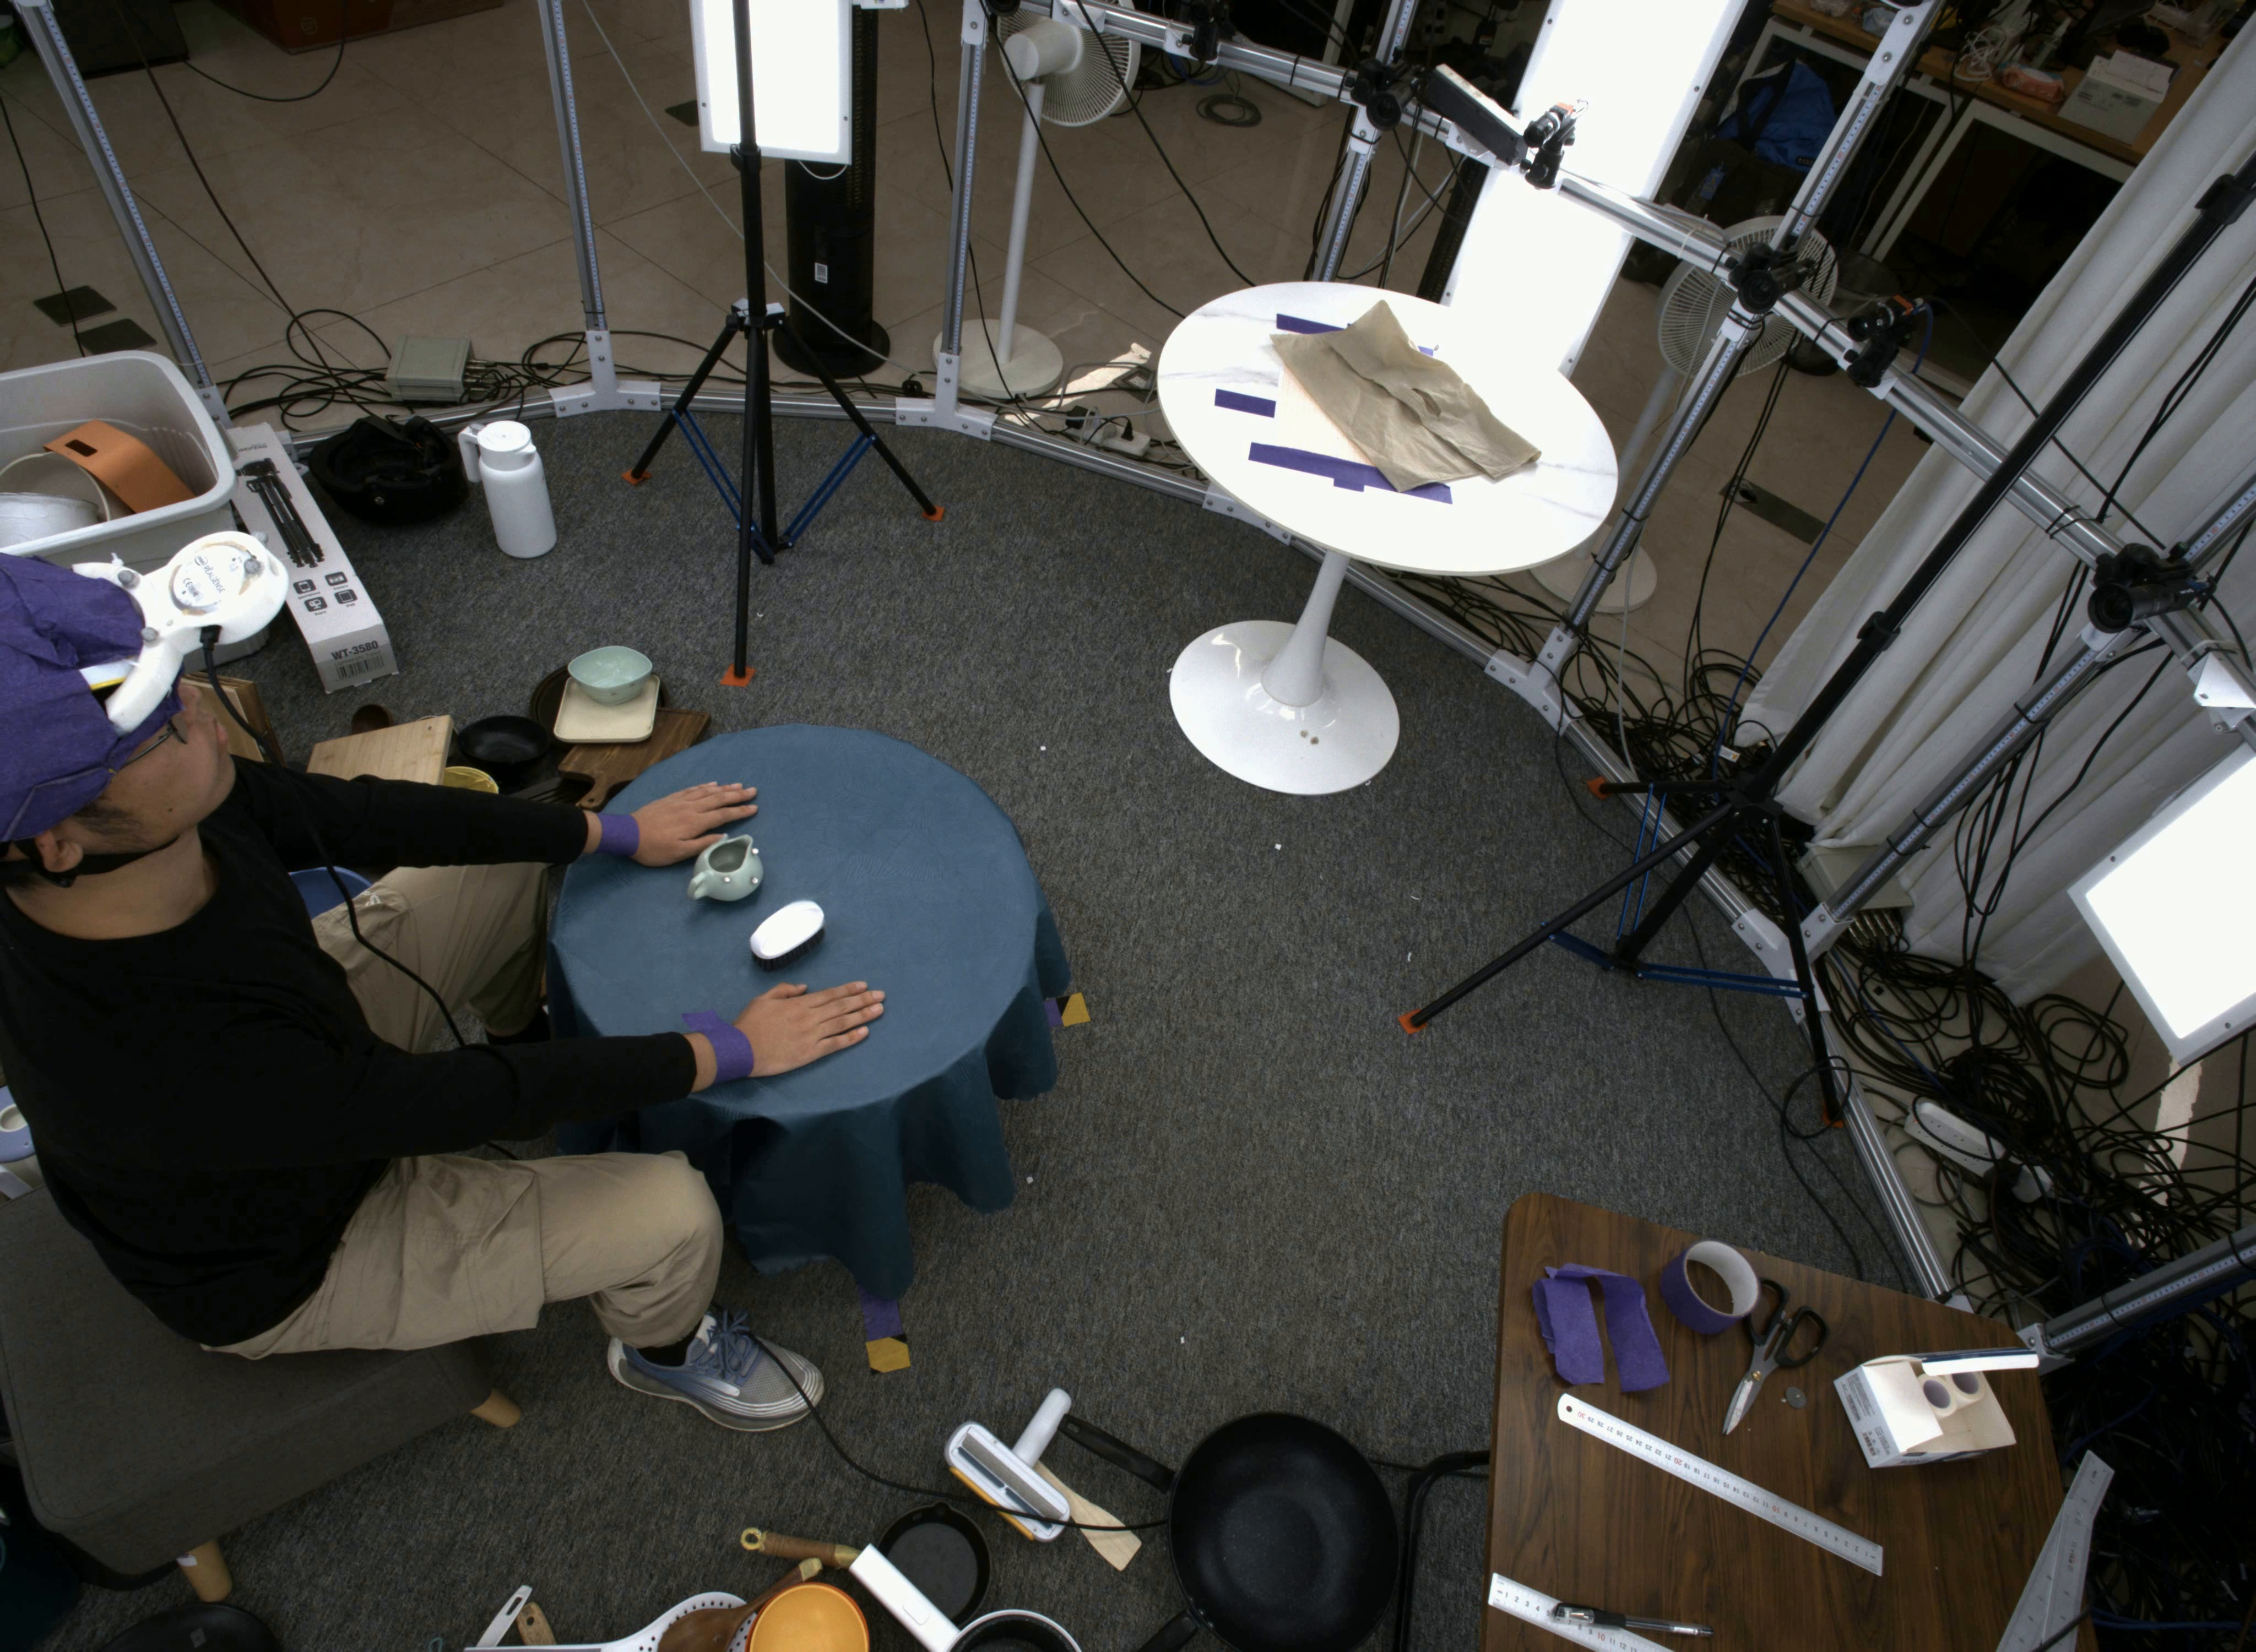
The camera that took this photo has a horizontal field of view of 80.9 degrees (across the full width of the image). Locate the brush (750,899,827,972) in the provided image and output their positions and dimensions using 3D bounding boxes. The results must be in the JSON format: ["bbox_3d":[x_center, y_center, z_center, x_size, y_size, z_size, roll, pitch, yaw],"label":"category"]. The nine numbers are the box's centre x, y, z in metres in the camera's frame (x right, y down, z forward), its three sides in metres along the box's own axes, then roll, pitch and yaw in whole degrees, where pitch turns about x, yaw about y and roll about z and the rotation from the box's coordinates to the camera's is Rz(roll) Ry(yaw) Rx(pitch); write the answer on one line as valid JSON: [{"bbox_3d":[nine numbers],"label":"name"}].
[{"bbox_3d":[-0.417,0.125,1.589,0.099,0.074,0.049,-33,64,-33],"label":"brush"}]

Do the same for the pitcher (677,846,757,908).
[{"bbox_3d":[-0.517,0.062,1.617,0.109,0.060,0.085,-24,72,-47],"label":"pitcher"}]
